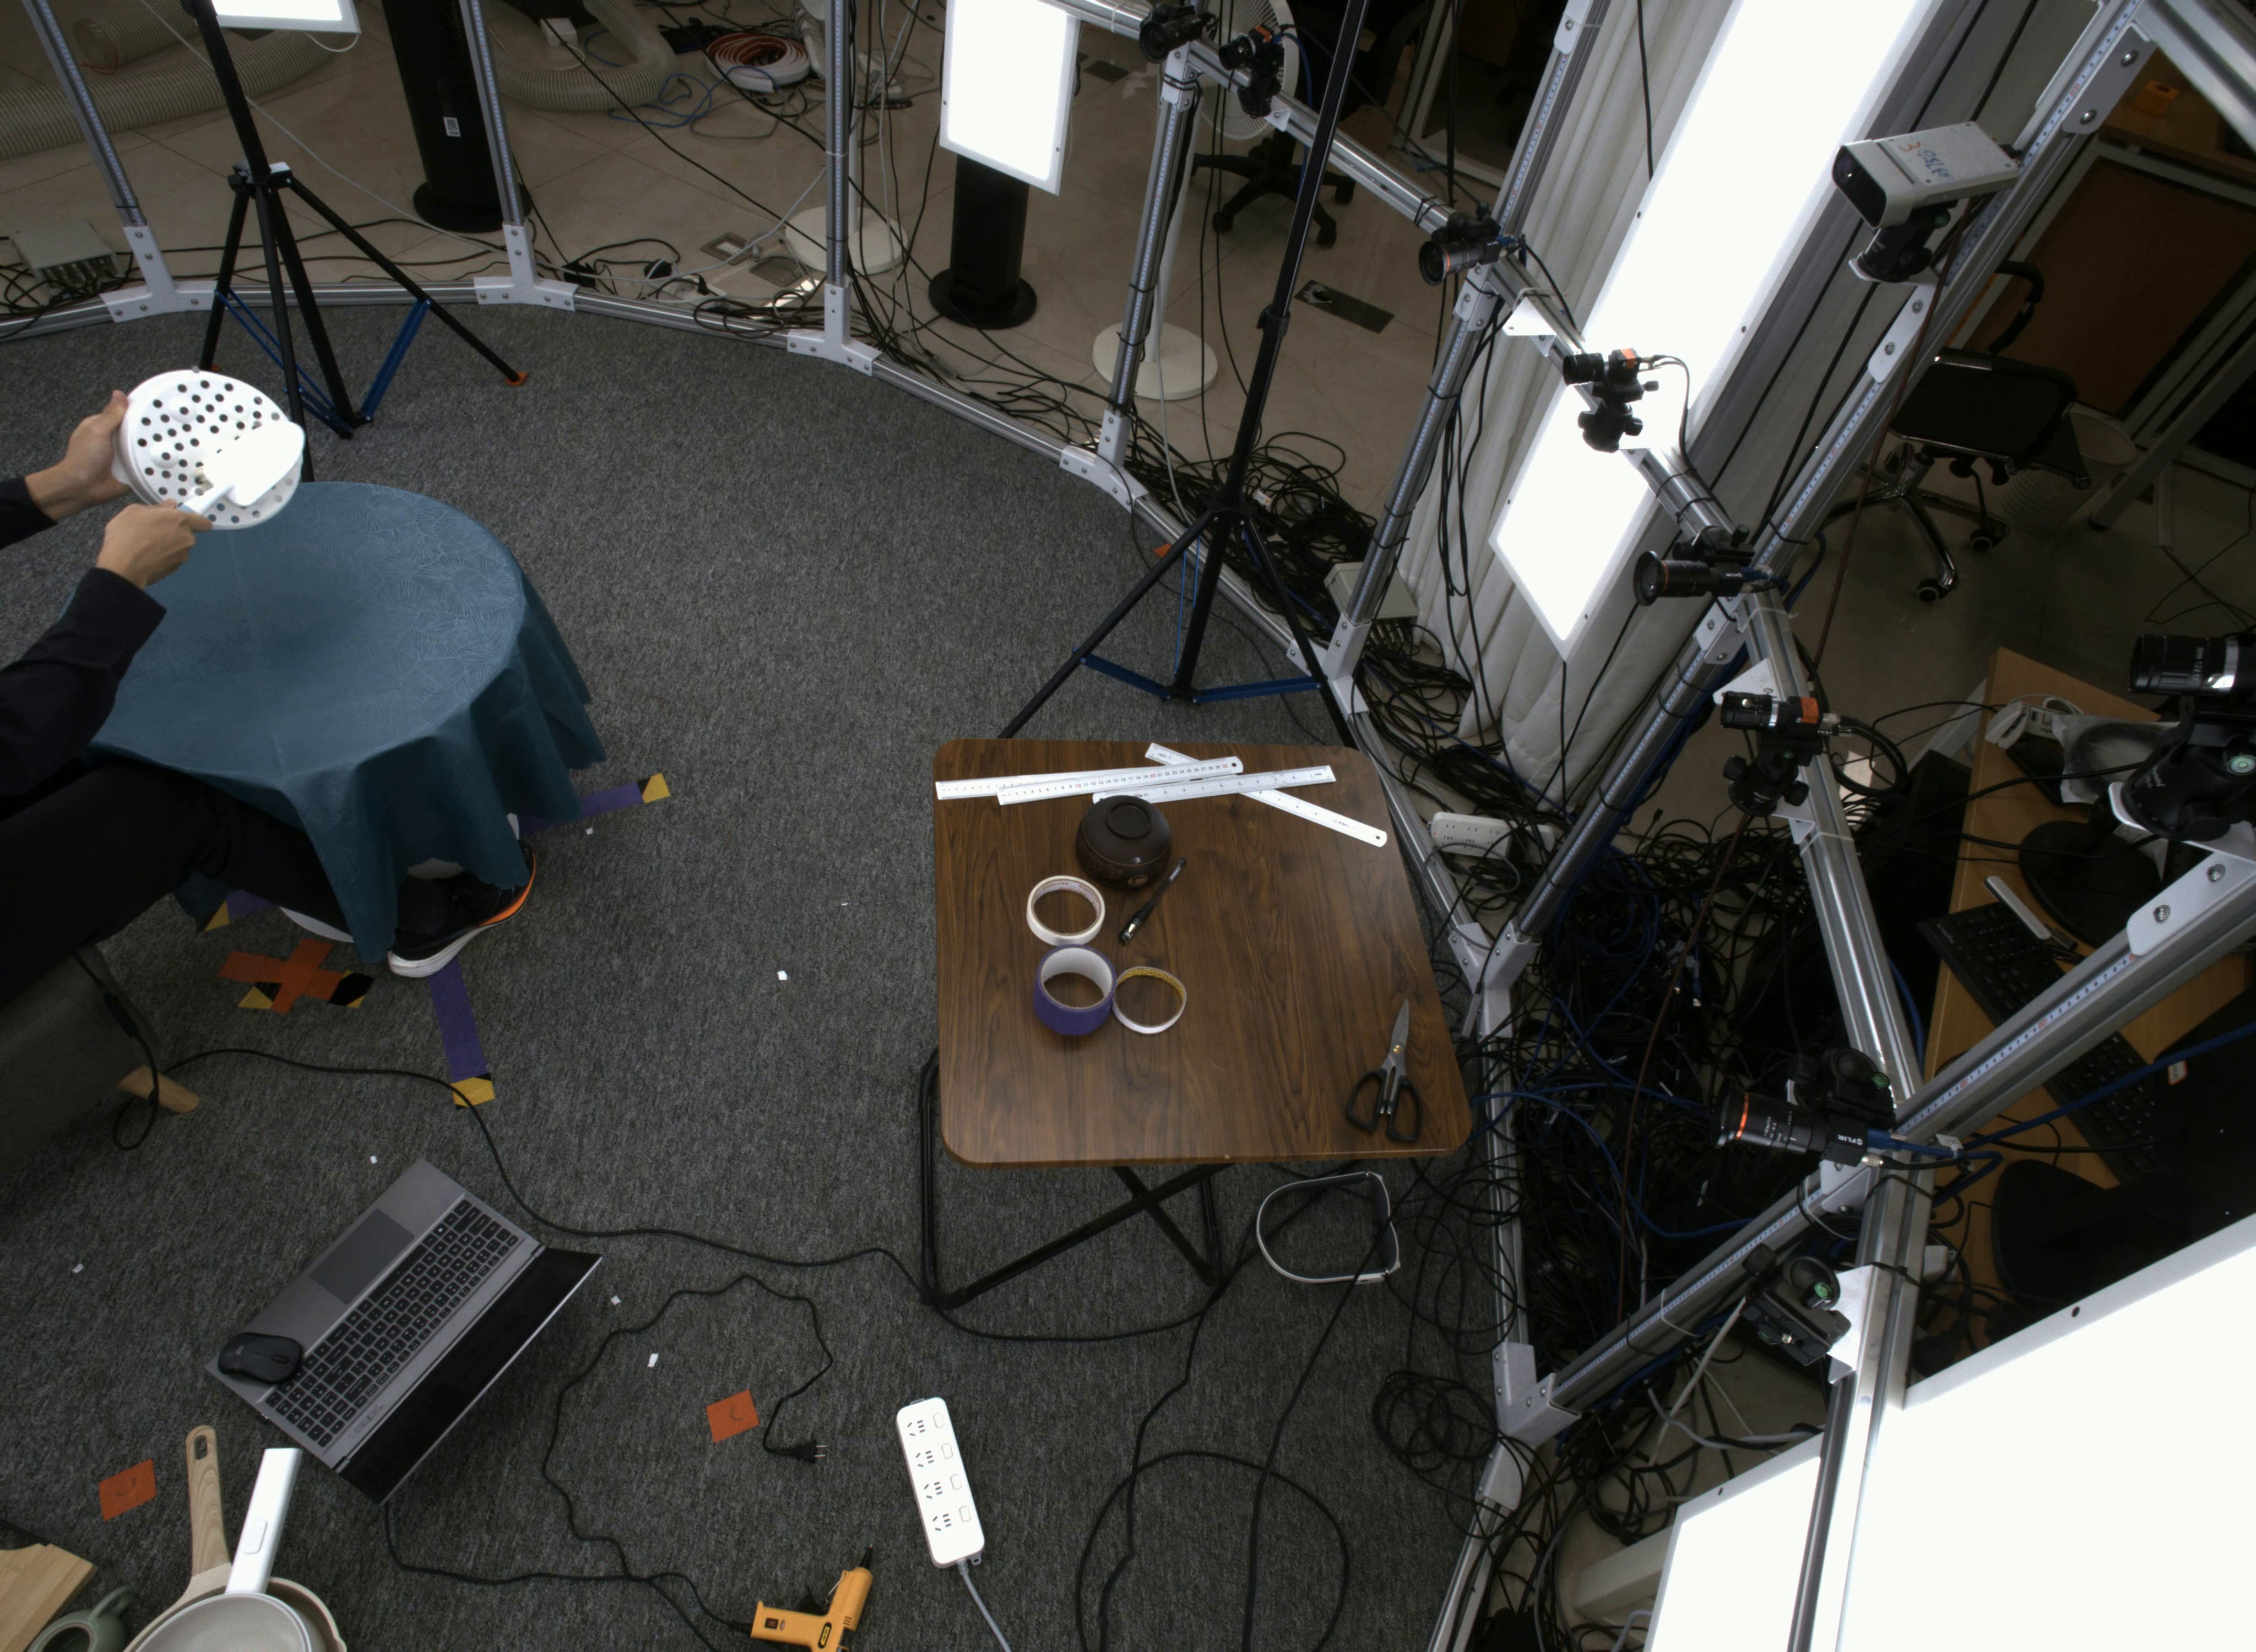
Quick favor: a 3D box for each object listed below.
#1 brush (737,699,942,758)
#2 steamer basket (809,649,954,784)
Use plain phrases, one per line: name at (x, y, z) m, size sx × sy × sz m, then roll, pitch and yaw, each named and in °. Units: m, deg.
brush at (-0.429, -0.135, 1.927) m, size 0.328 × 0.087 × 0.080 m, roll -16°, pitch 43°, yaw -32°
steamer basket at (-0.378, -0.171, 2.022) m, size 0.234 × 0.203 × 0.068 m, roll 16°, pitch -9°, yaw -21°
